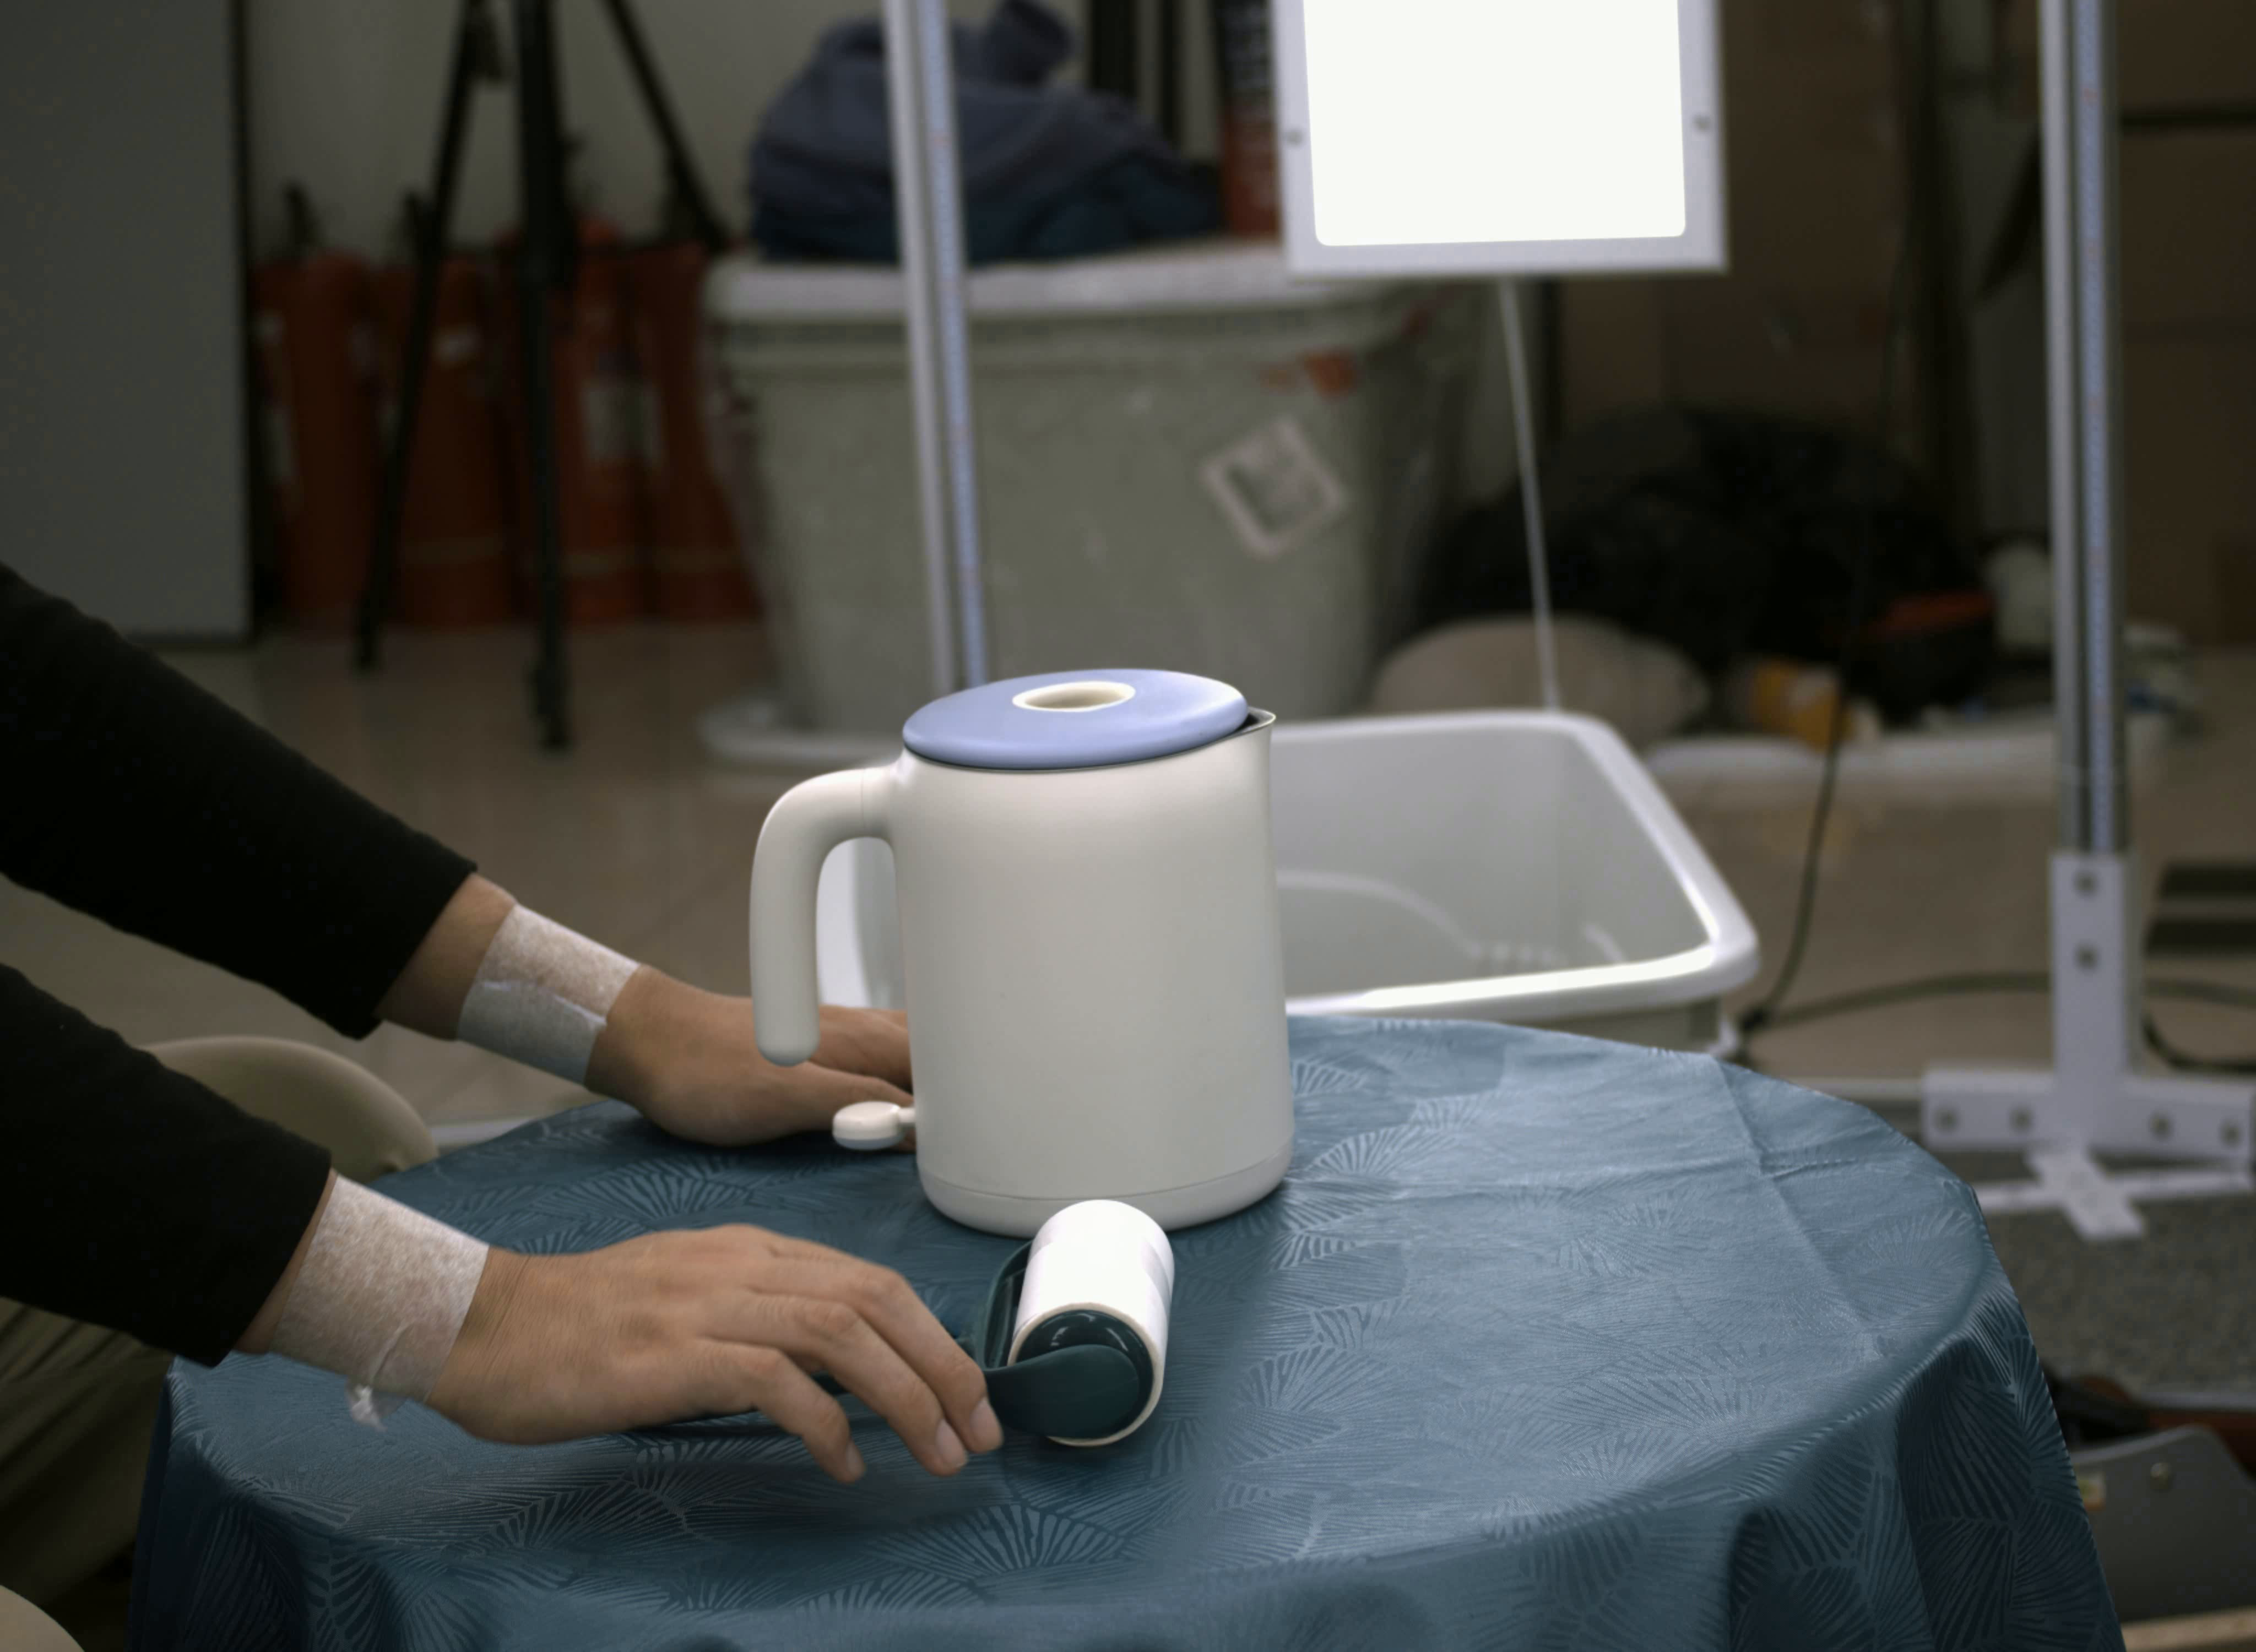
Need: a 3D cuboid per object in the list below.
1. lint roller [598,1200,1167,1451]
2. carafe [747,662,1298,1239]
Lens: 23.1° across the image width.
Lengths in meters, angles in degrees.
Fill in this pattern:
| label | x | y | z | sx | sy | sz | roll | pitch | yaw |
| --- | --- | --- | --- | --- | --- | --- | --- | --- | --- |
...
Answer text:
| label | x | y | z | sx | sy | sz | roll | pitch | yaw |
| --- | --- | --- | --- | --- | --- | --- | --- | --- | --- |
| lint roller | -0.078 | 0.160 | 1.704 | 0.180 | 0.048 | 0.133 | -7 | 14 | 6 |
| carafe | -0.037 | 0.044 | 1.887 | 0.191 | 0.183 | 0.131 | -5 | 13 | 7 |
